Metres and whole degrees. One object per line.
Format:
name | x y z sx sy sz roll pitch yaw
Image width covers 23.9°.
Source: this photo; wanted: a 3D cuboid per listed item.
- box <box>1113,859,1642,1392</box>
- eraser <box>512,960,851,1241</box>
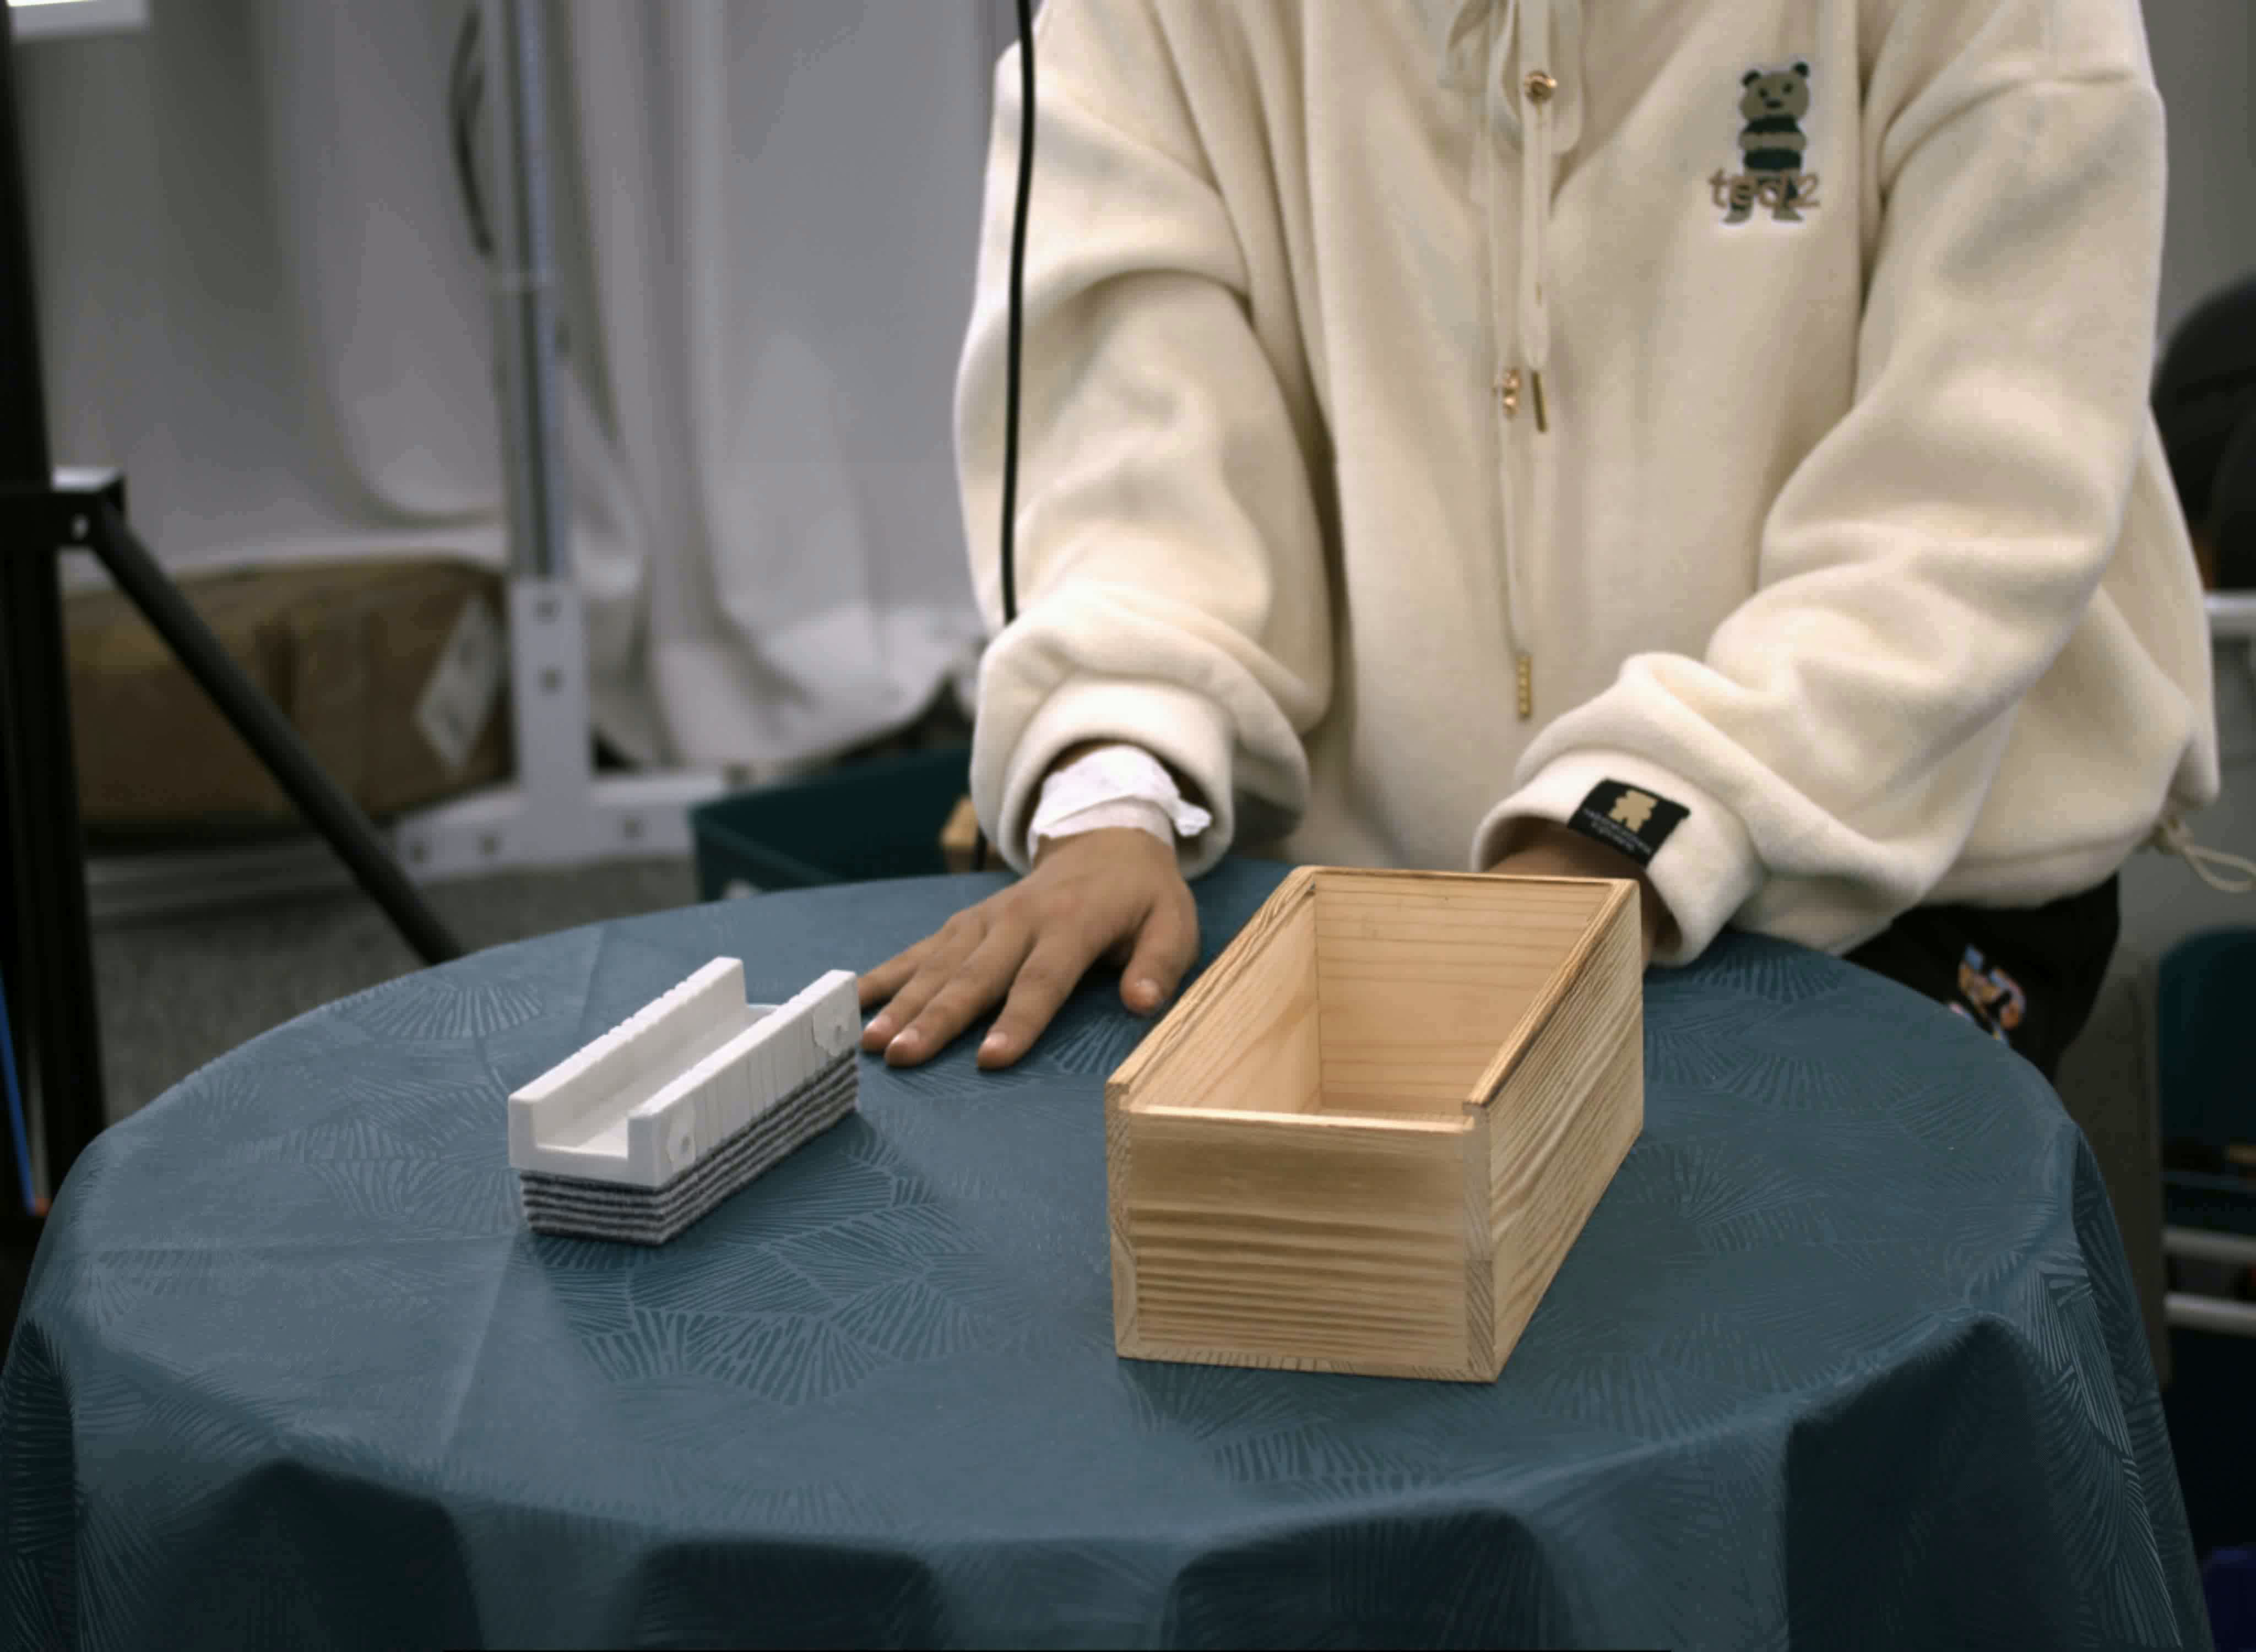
box | 0.075 0.080 1.499 0.108 0.080 0.209 2 17 16
eraser | -0.131 0.080 1.591 0.050 0.046 0.132 2 18 22
